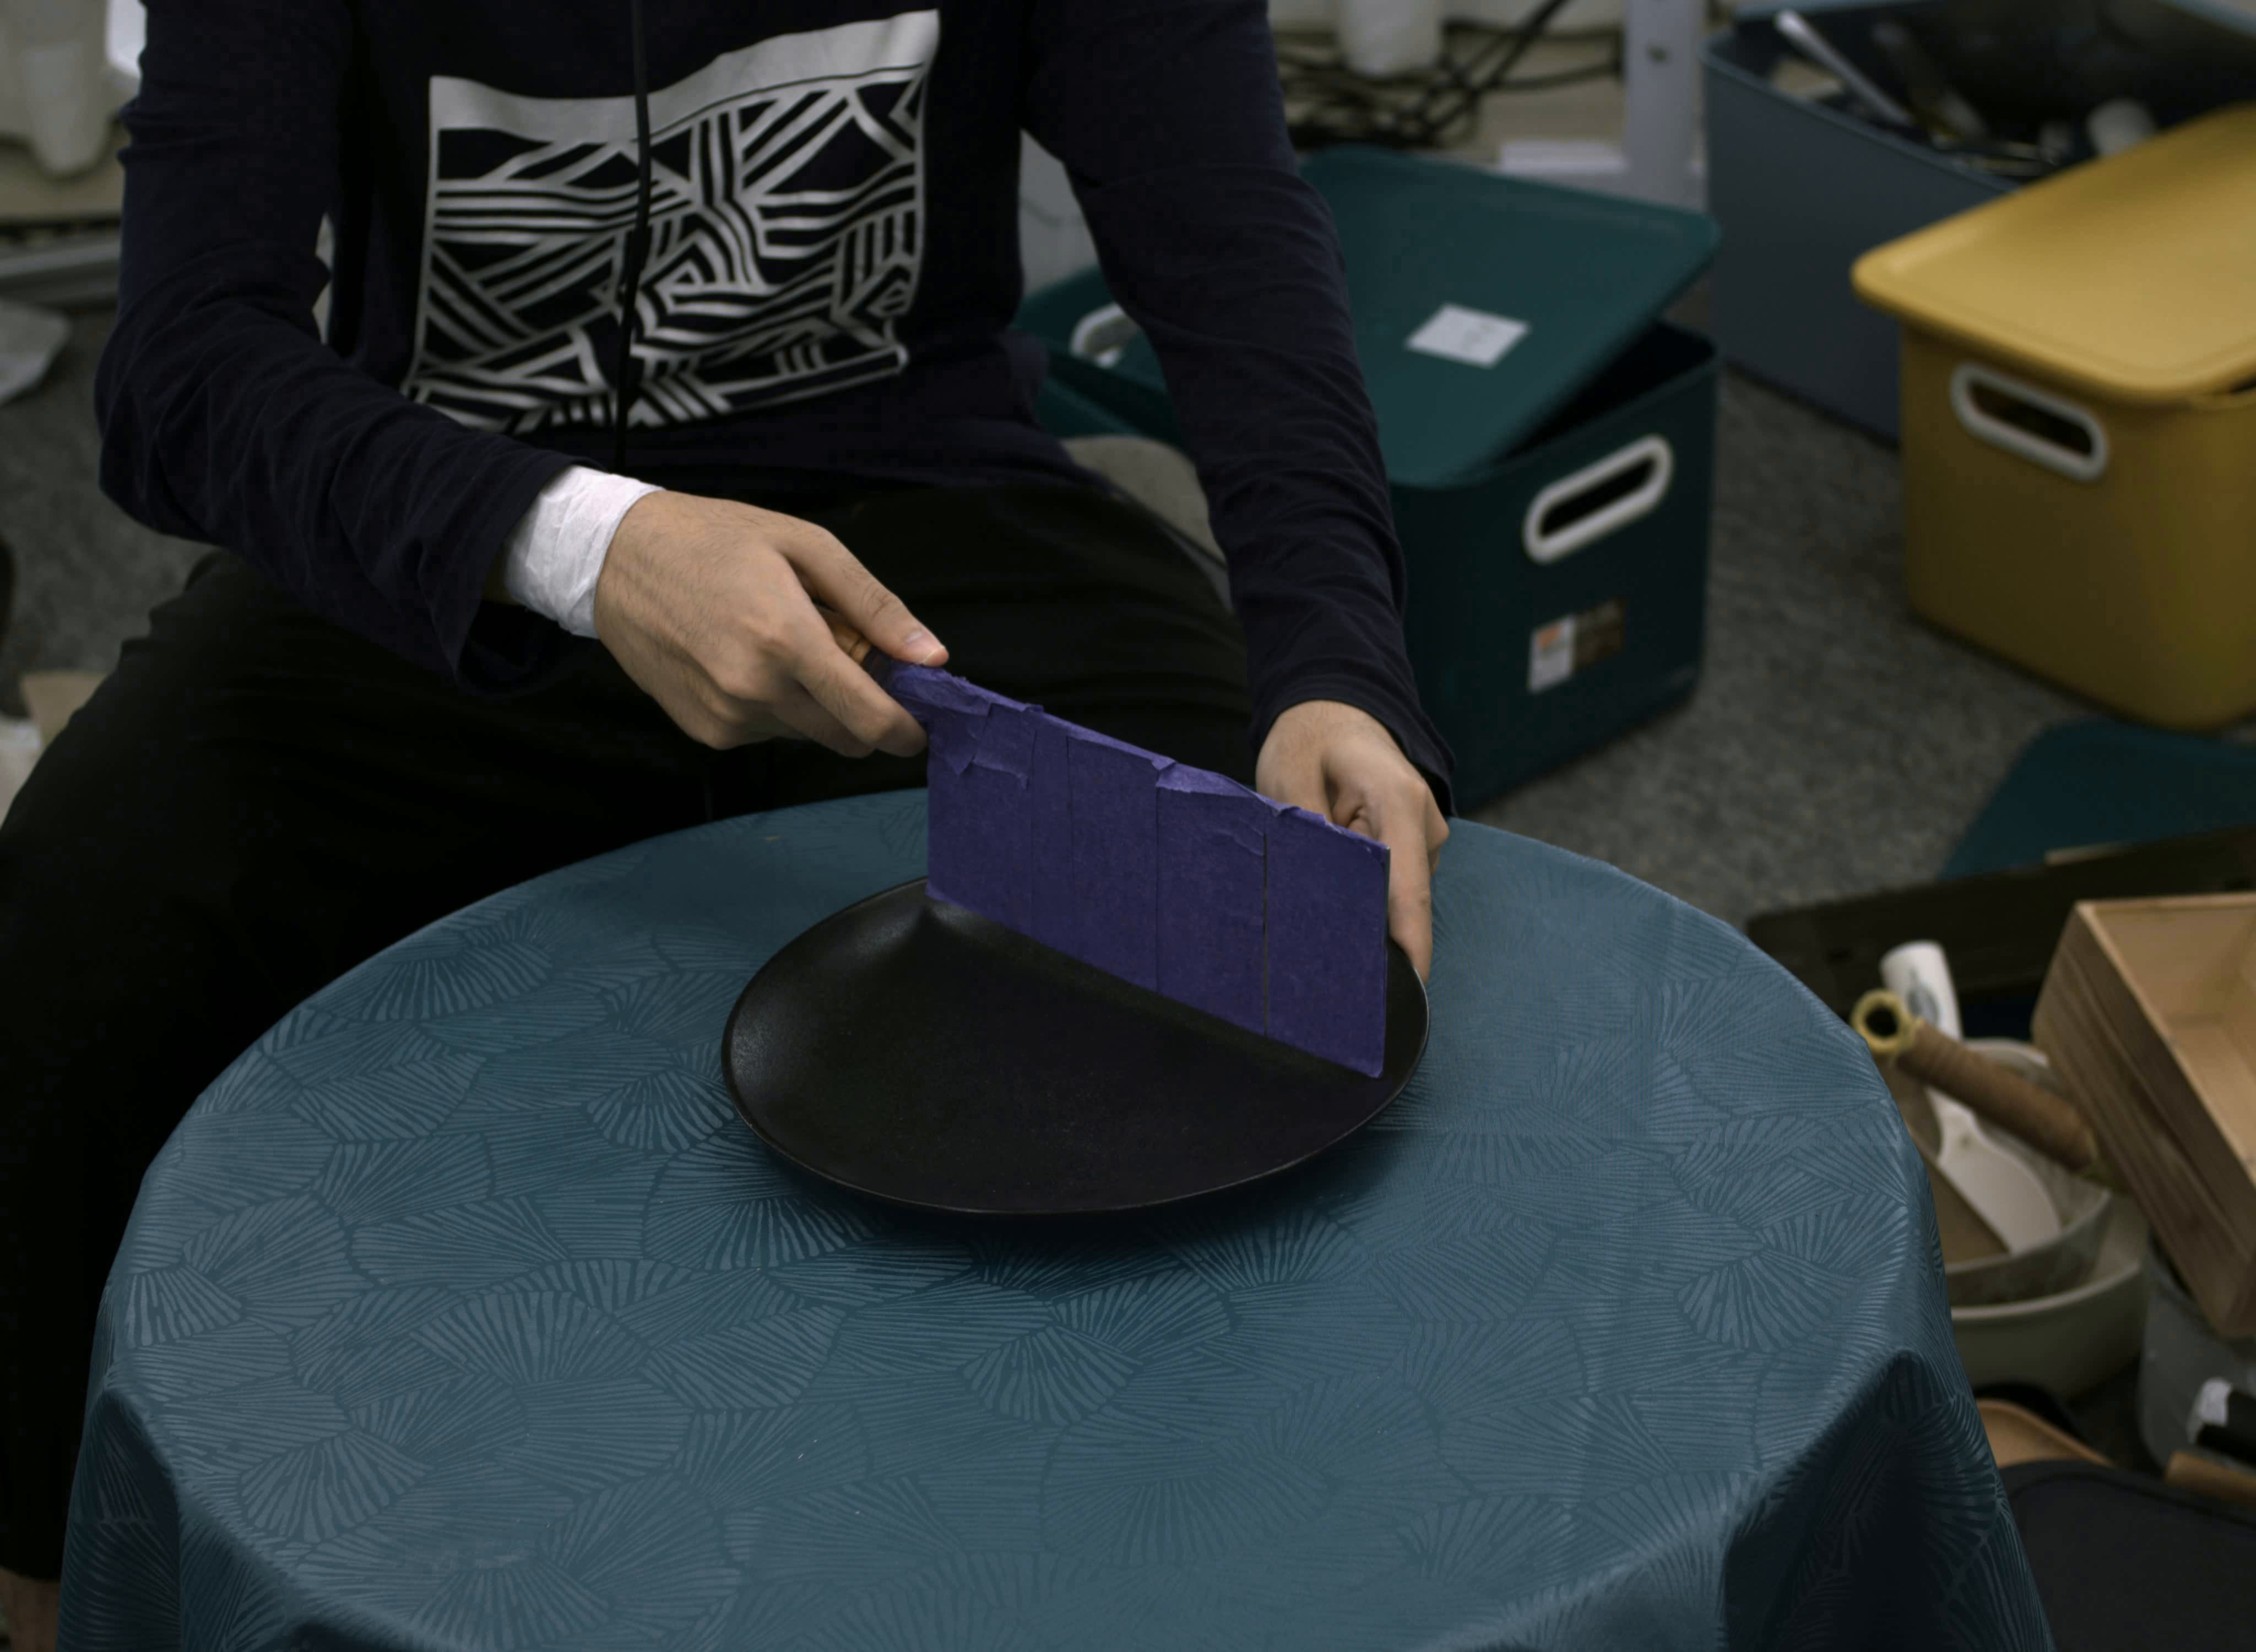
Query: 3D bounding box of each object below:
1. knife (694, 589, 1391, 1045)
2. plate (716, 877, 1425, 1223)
[{"bbox_3d":[-0.033,-0.001,1.955,0.314,0.103,0.032,21,30,38],"label":"knife"},{"bbox_3d":[-0.019,0.077,1.923,0.243,0.023,0.248,-3,28,2],"label":"plate"}]
